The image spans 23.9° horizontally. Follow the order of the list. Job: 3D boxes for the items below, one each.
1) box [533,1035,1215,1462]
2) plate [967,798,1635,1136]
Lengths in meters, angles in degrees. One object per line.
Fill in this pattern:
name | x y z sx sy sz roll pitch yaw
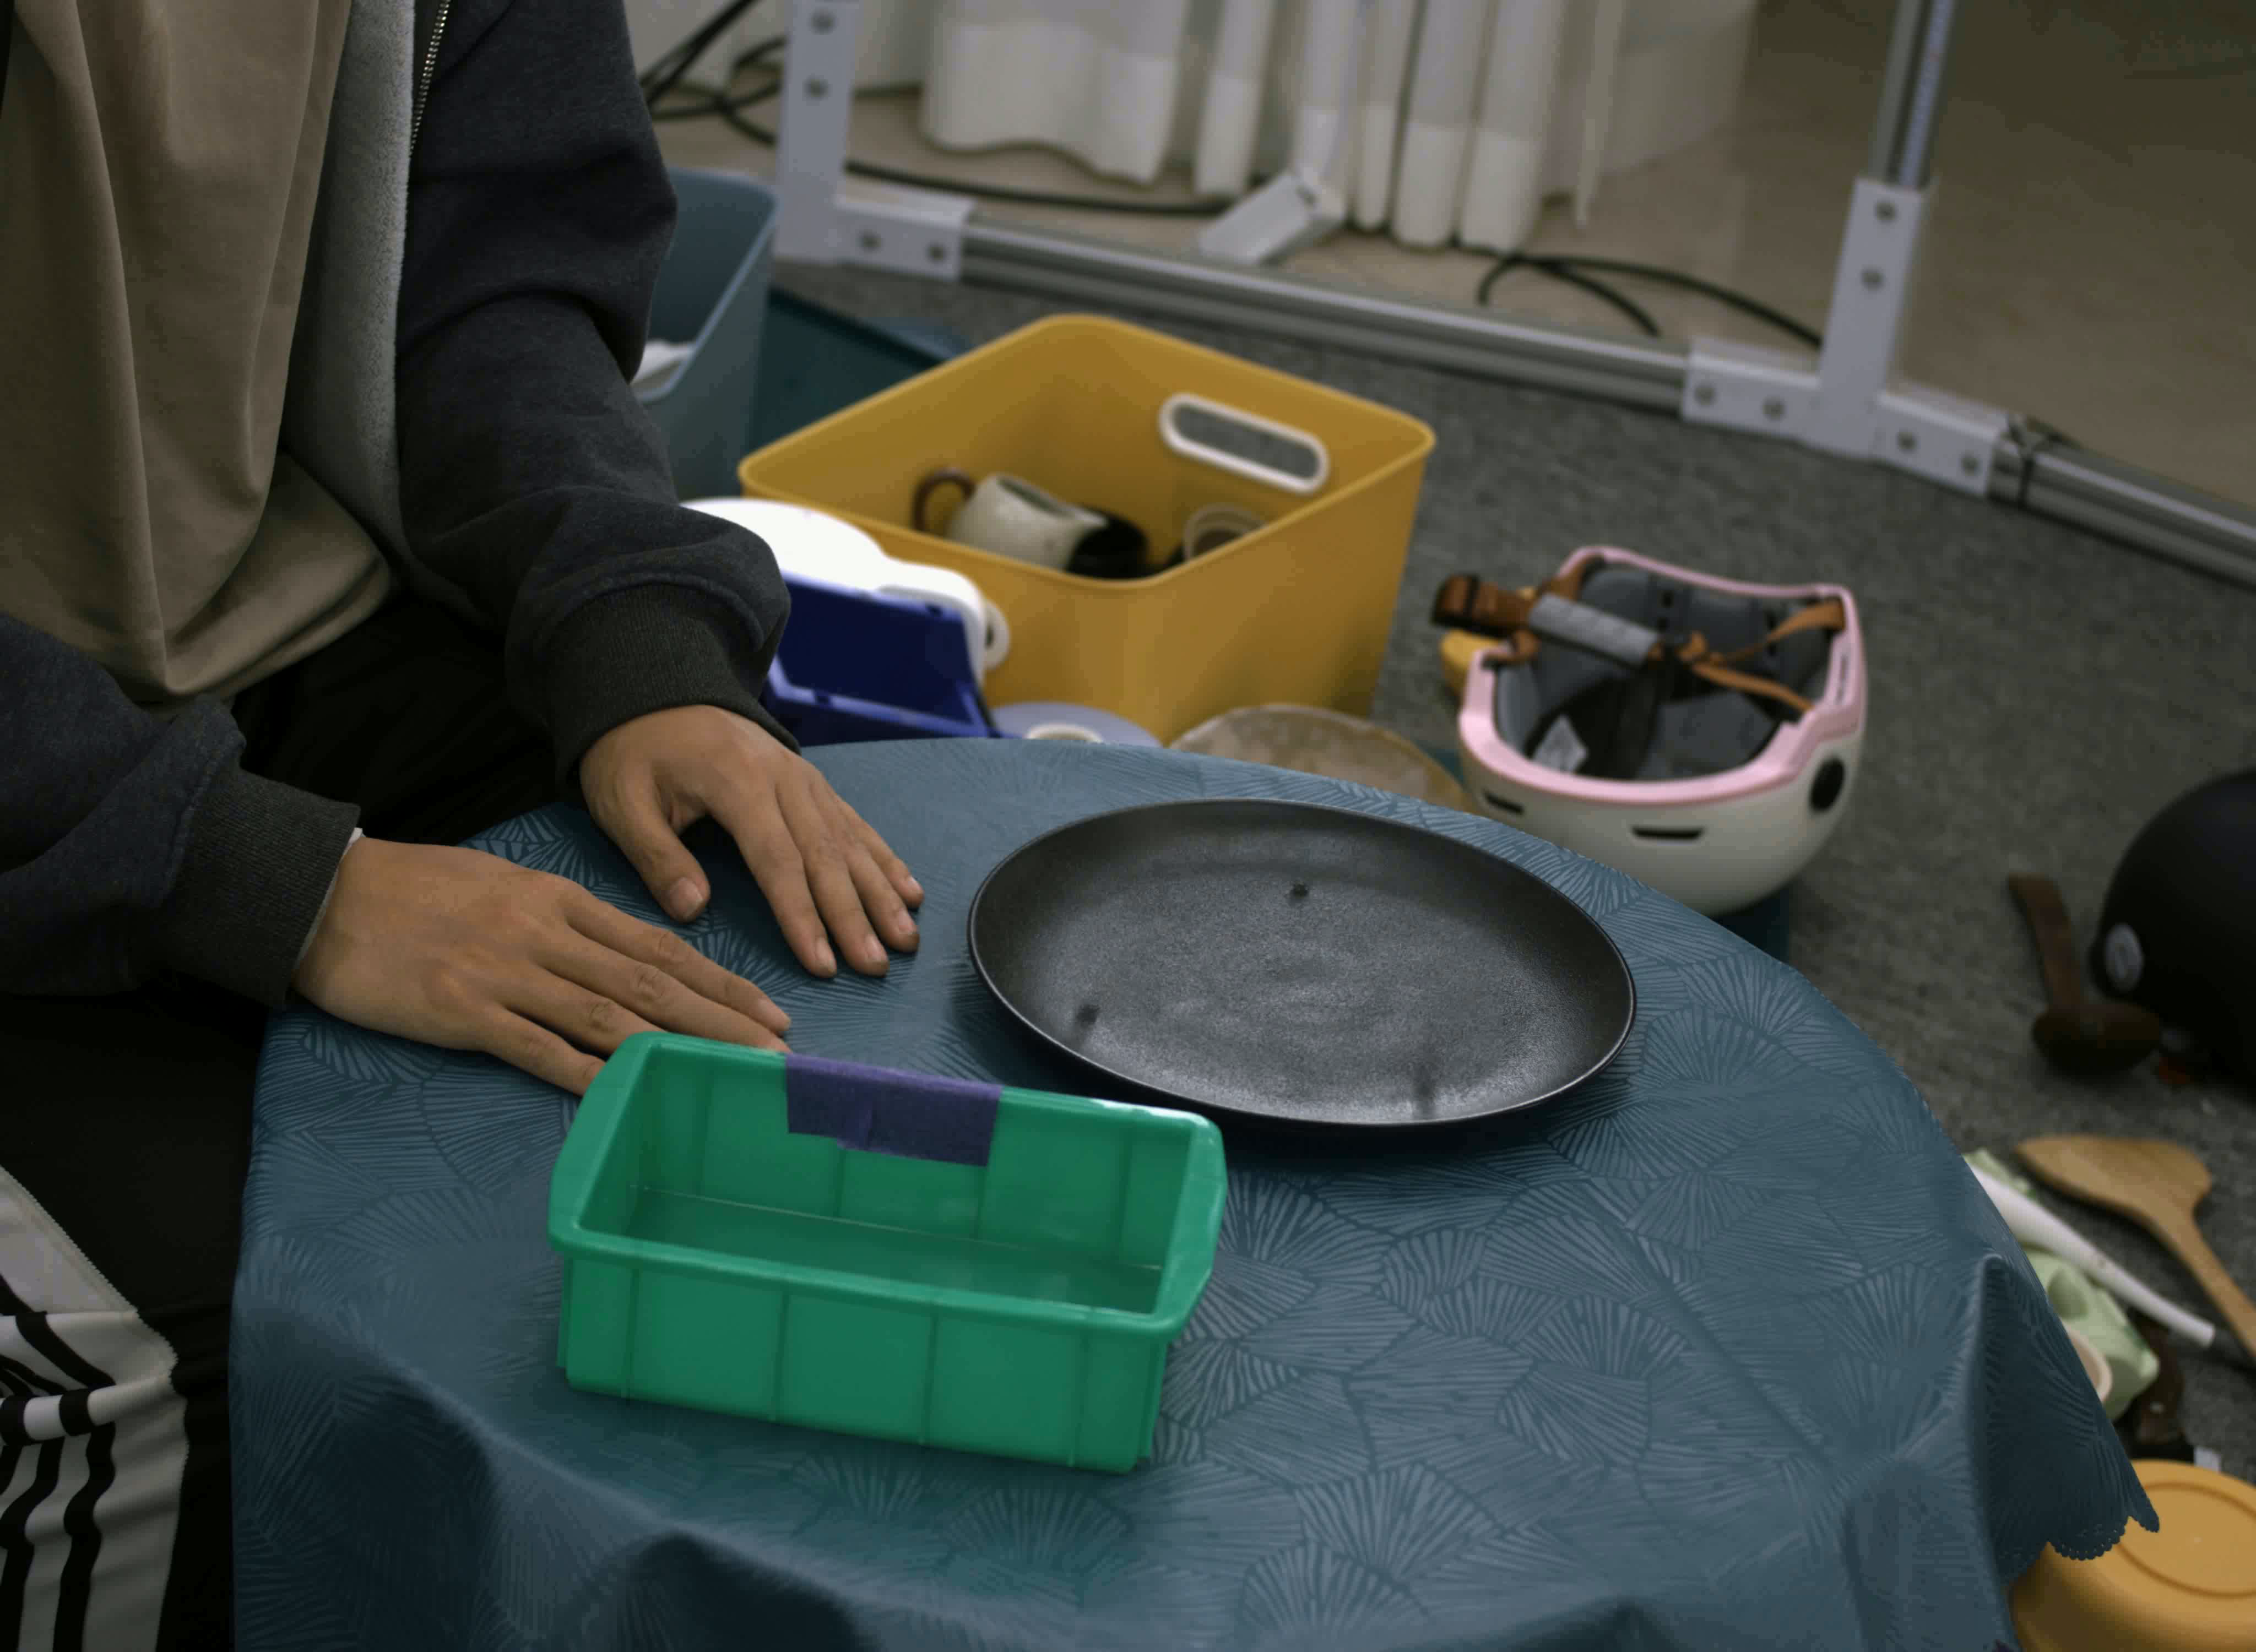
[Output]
box | -0.081 0.135 1.690 0.210 0.065 0.139 6 25 4
plate | 0.061 0.055 1.924 0.243 0.023 0.246 5 27 -3
